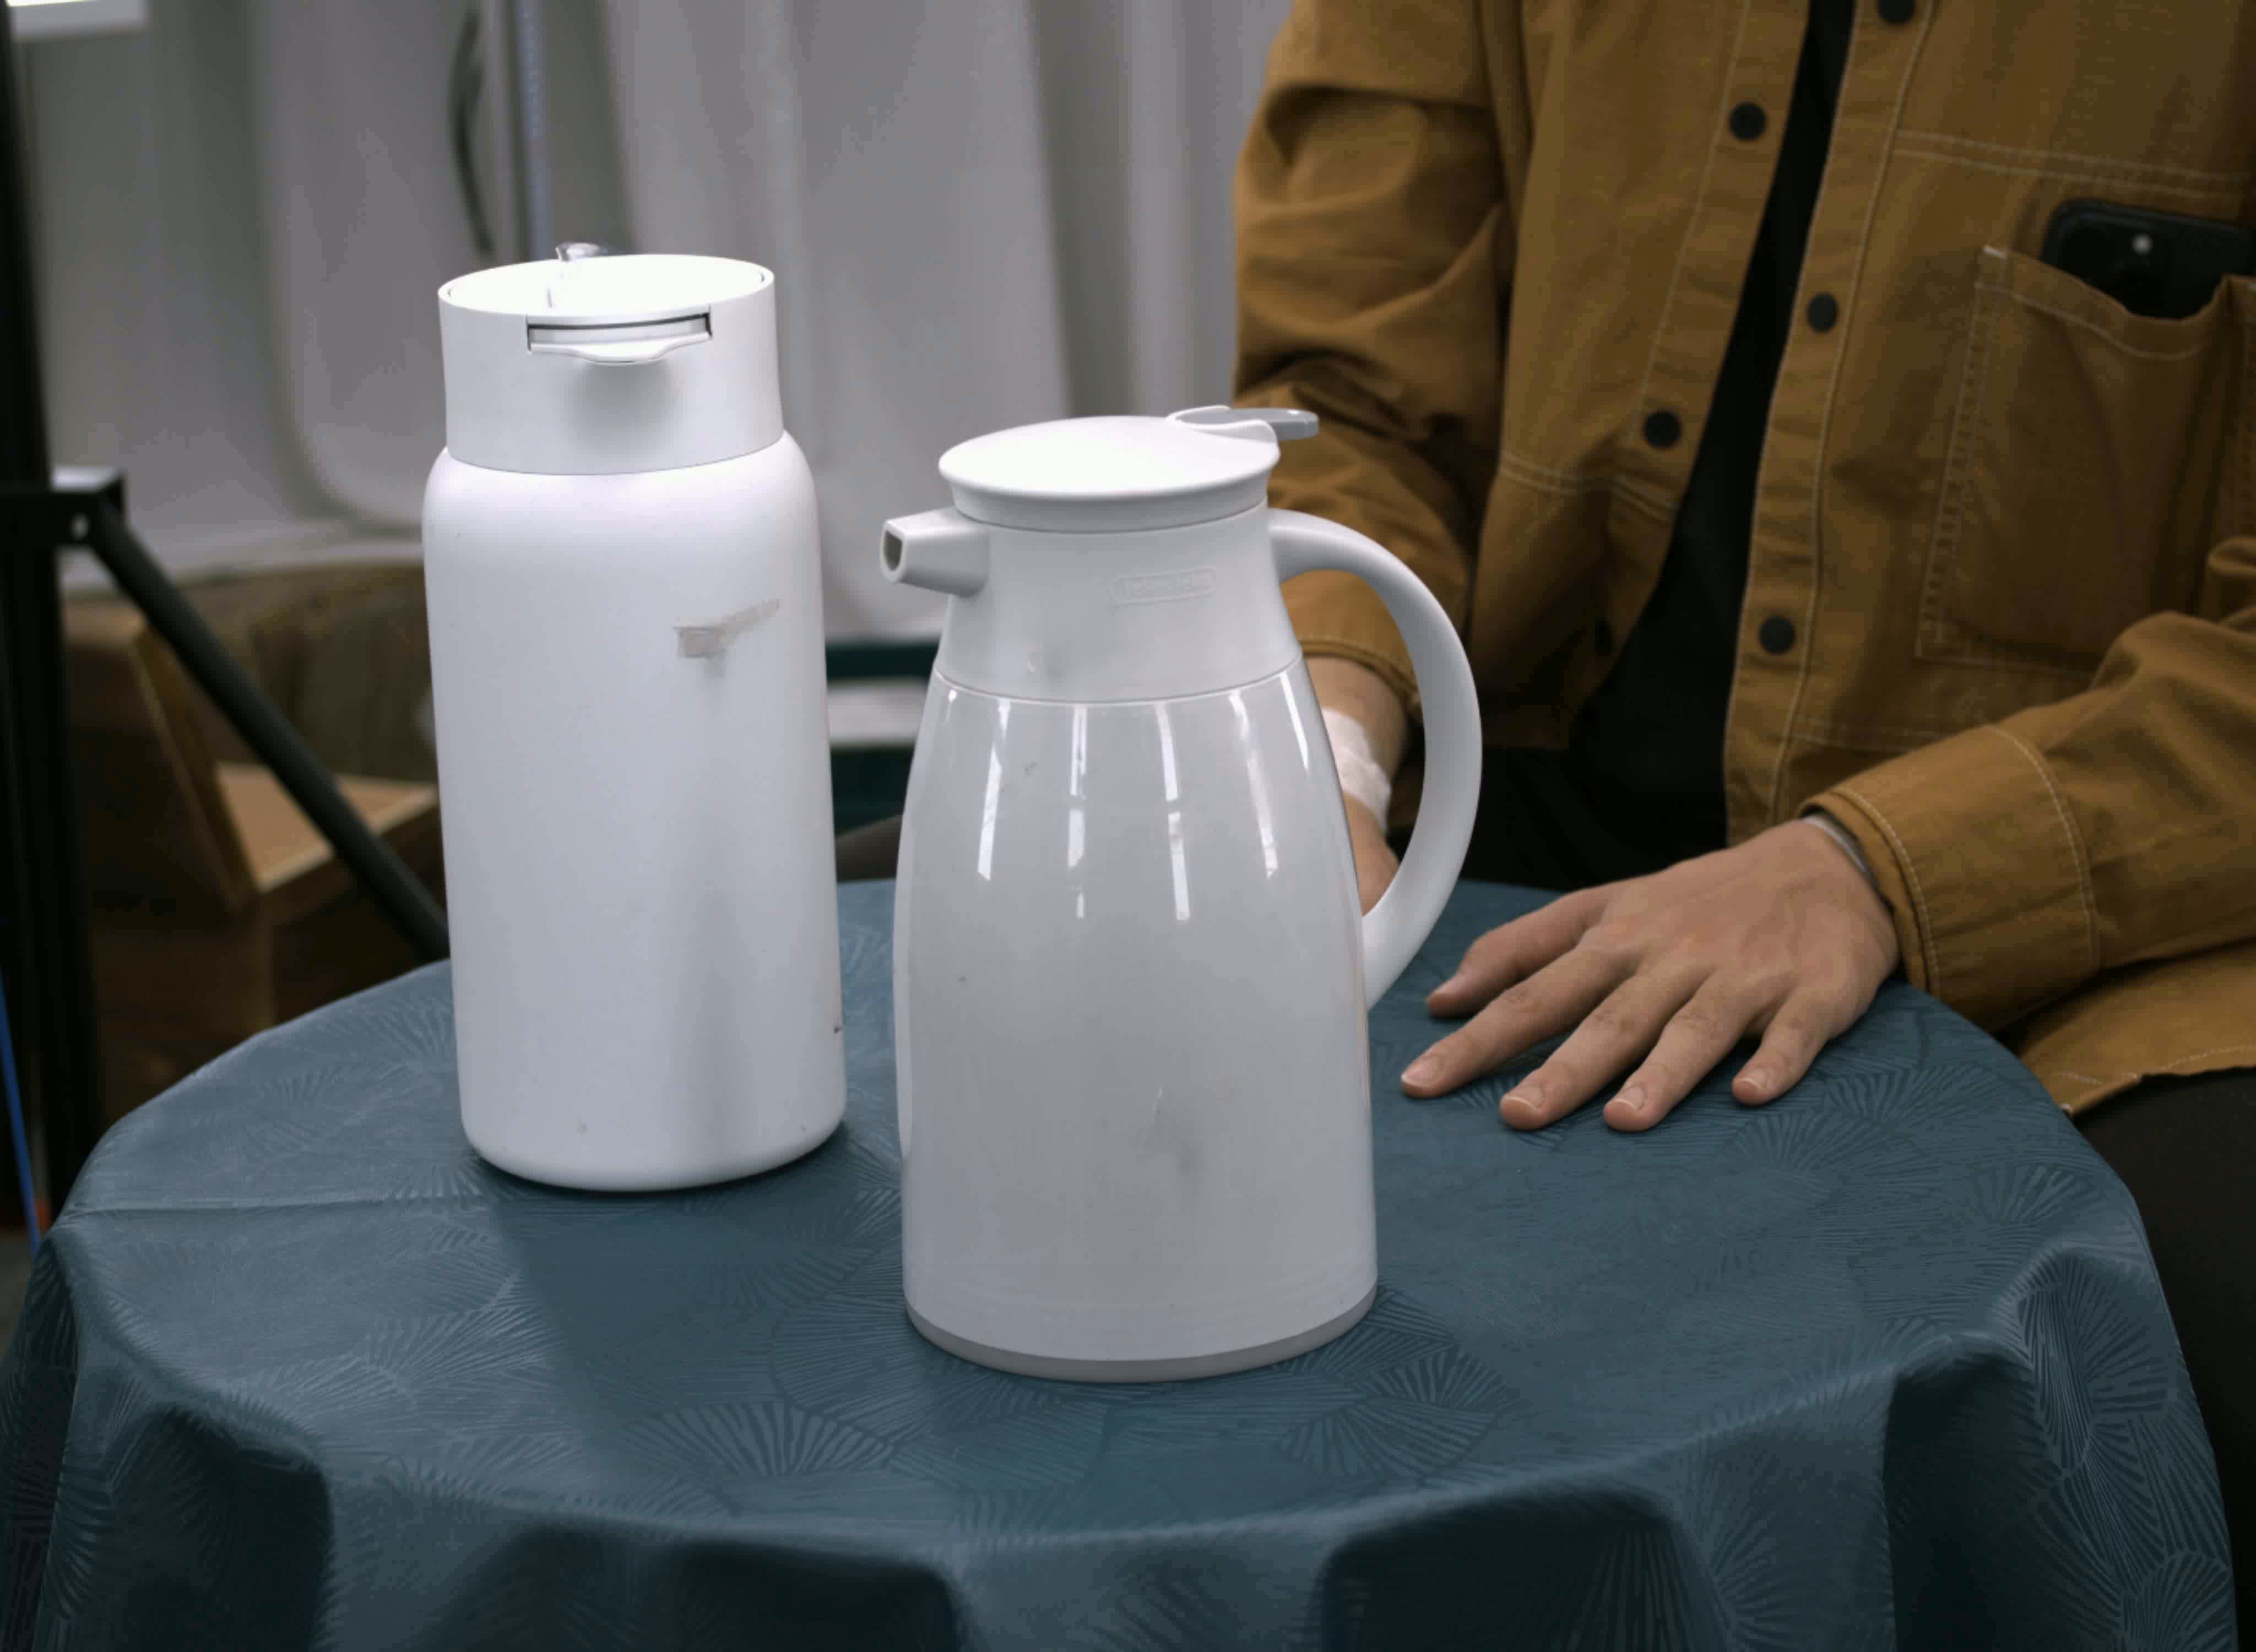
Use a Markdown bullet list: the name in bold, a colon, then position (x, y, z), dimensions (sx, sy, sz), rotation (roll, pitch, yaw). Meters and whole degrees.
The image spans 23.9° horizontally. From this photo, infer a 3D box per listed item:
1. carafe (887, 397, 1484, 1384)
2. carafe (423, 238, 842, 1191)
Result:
- **carafe**: position (0.017, 0.009, 1.447), dimensions (0.165, 0.248, 0.135), rotation (-6, 16, -19)
- **carafe**: position (-0.152, -0.038, 1.606), dimensions (0.122, 0.269, 0.175), rotation (-6, 15, -9)
